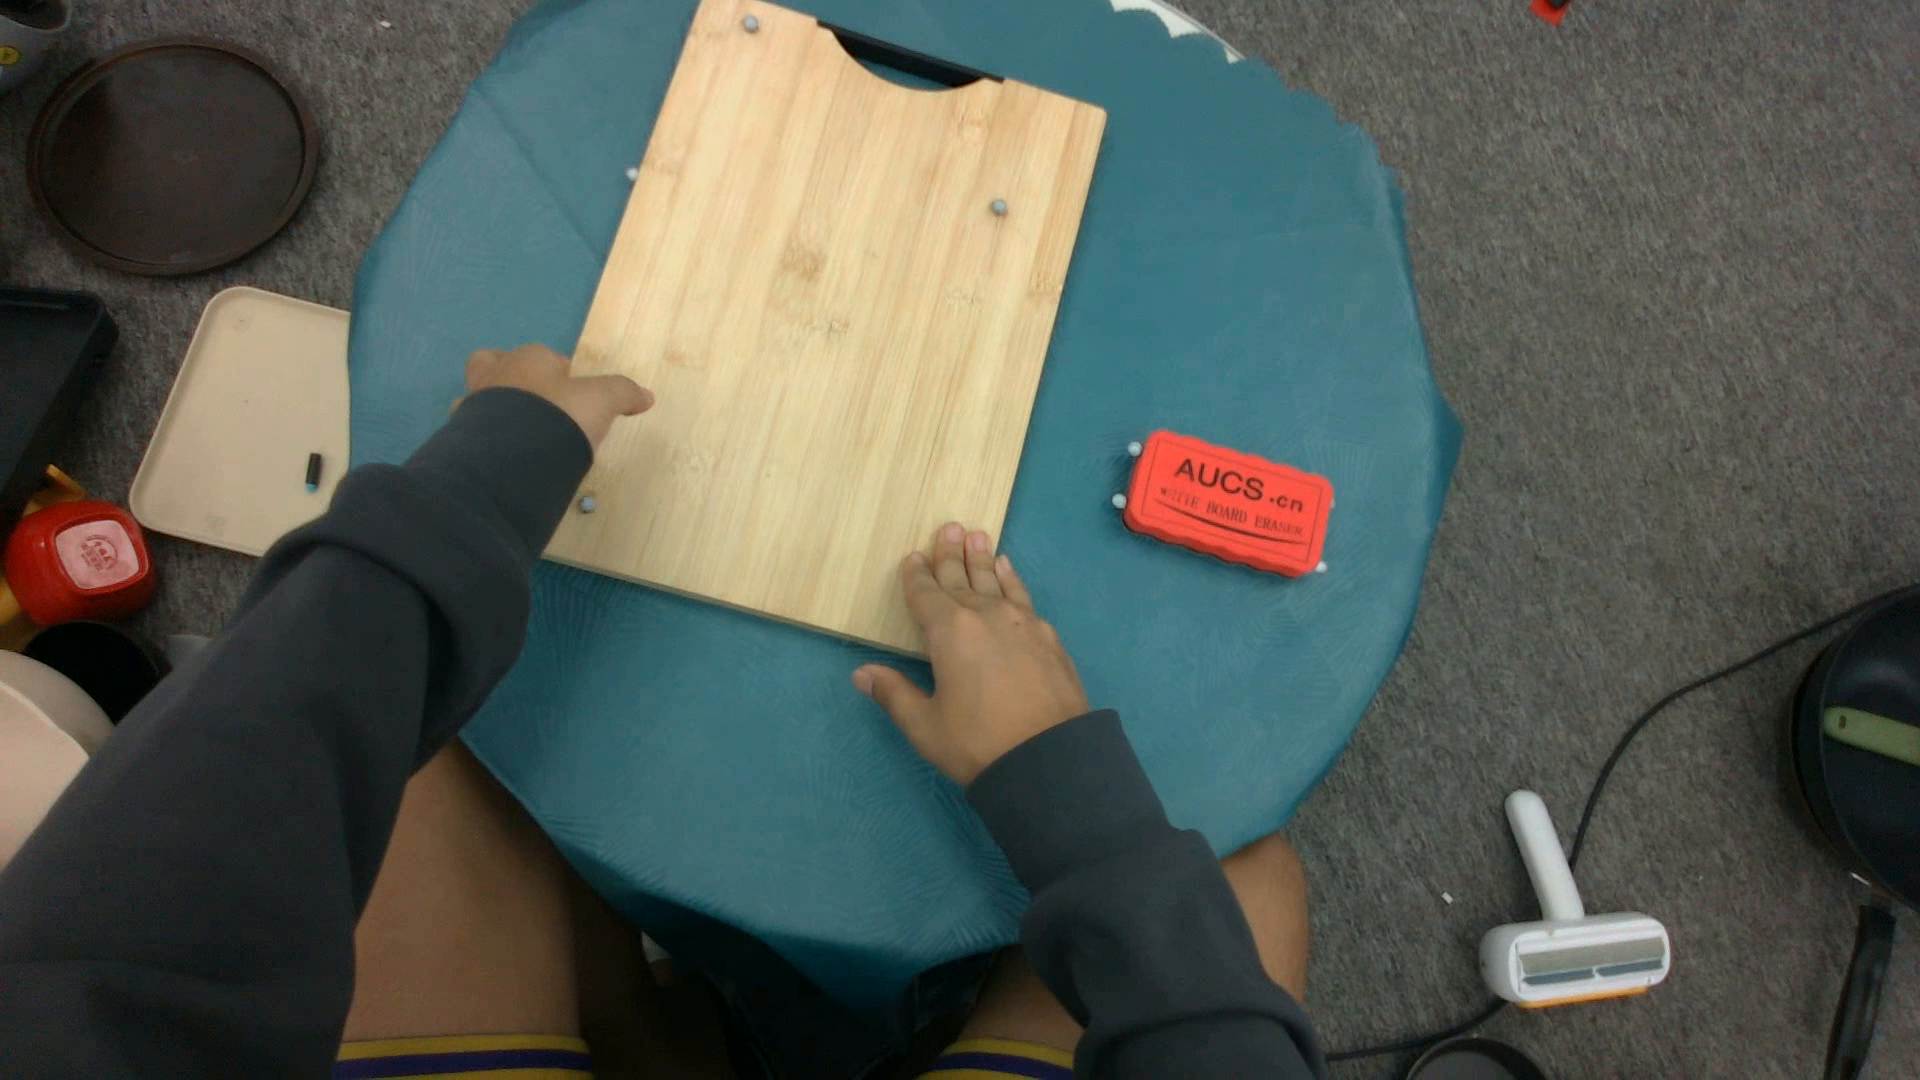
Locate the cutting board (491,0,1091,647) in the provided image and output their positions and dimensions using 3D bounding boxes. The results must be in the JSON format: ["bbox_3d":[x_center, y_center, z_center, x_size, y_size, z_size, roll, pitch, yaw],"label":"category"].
[{"bbox_3d":[-0.081,-0.136,0.752,0.251,0.023,0.349,14,74,-6],"label":"cutting board"}]

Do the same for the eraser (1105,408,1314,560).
[{"bbox_3d":[0.137,-0.031,0.756,0.108,0.023,0.059,16,73,-4],"label":"eraser"}]
